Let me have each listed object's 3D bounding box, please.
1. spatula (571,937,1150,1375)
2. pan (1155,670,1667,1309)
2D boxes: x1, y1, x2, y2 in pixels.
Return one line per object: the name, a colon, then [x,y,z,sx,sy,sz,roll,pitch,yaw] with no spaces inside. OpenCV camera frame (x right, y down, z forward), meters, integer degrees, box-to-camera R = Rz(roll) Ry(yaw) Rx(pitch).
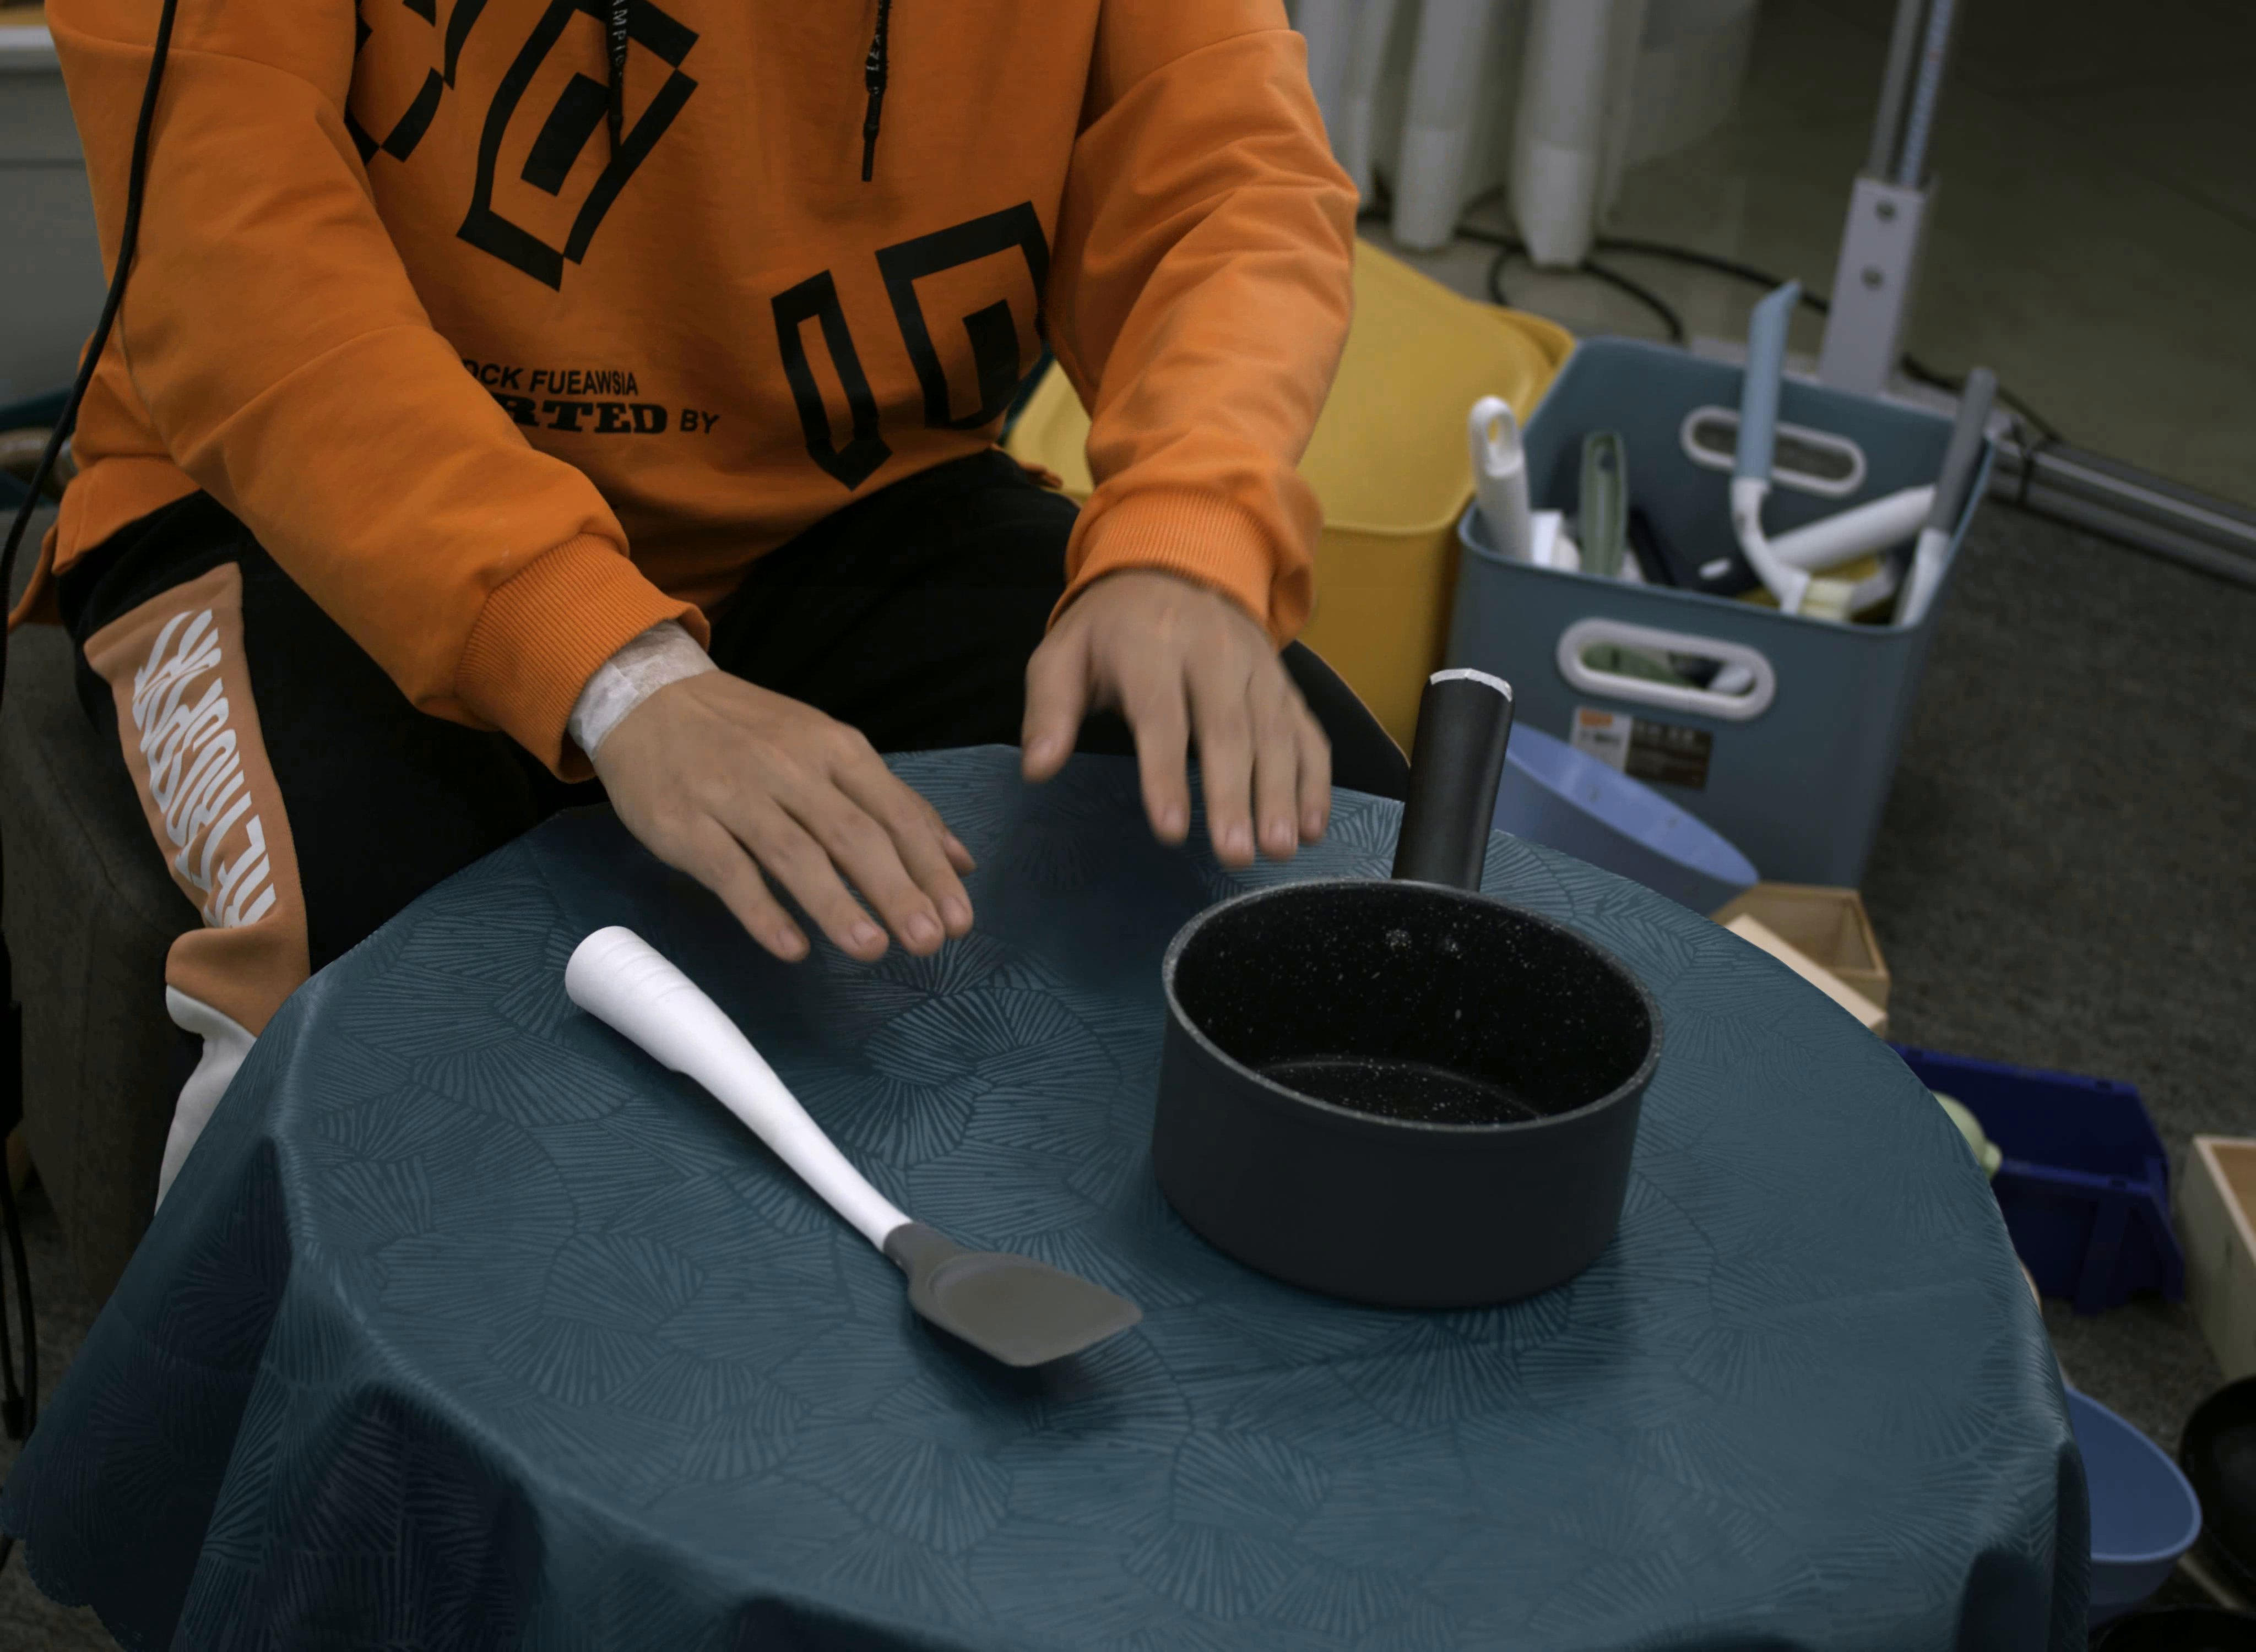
spatula: [-0.097,0.112,1.768,0.058,0.032,0.290,-15,33,-34]
pan: [0.106,0.052,1.873,0.172,0.086,0.330,11,29,6]
